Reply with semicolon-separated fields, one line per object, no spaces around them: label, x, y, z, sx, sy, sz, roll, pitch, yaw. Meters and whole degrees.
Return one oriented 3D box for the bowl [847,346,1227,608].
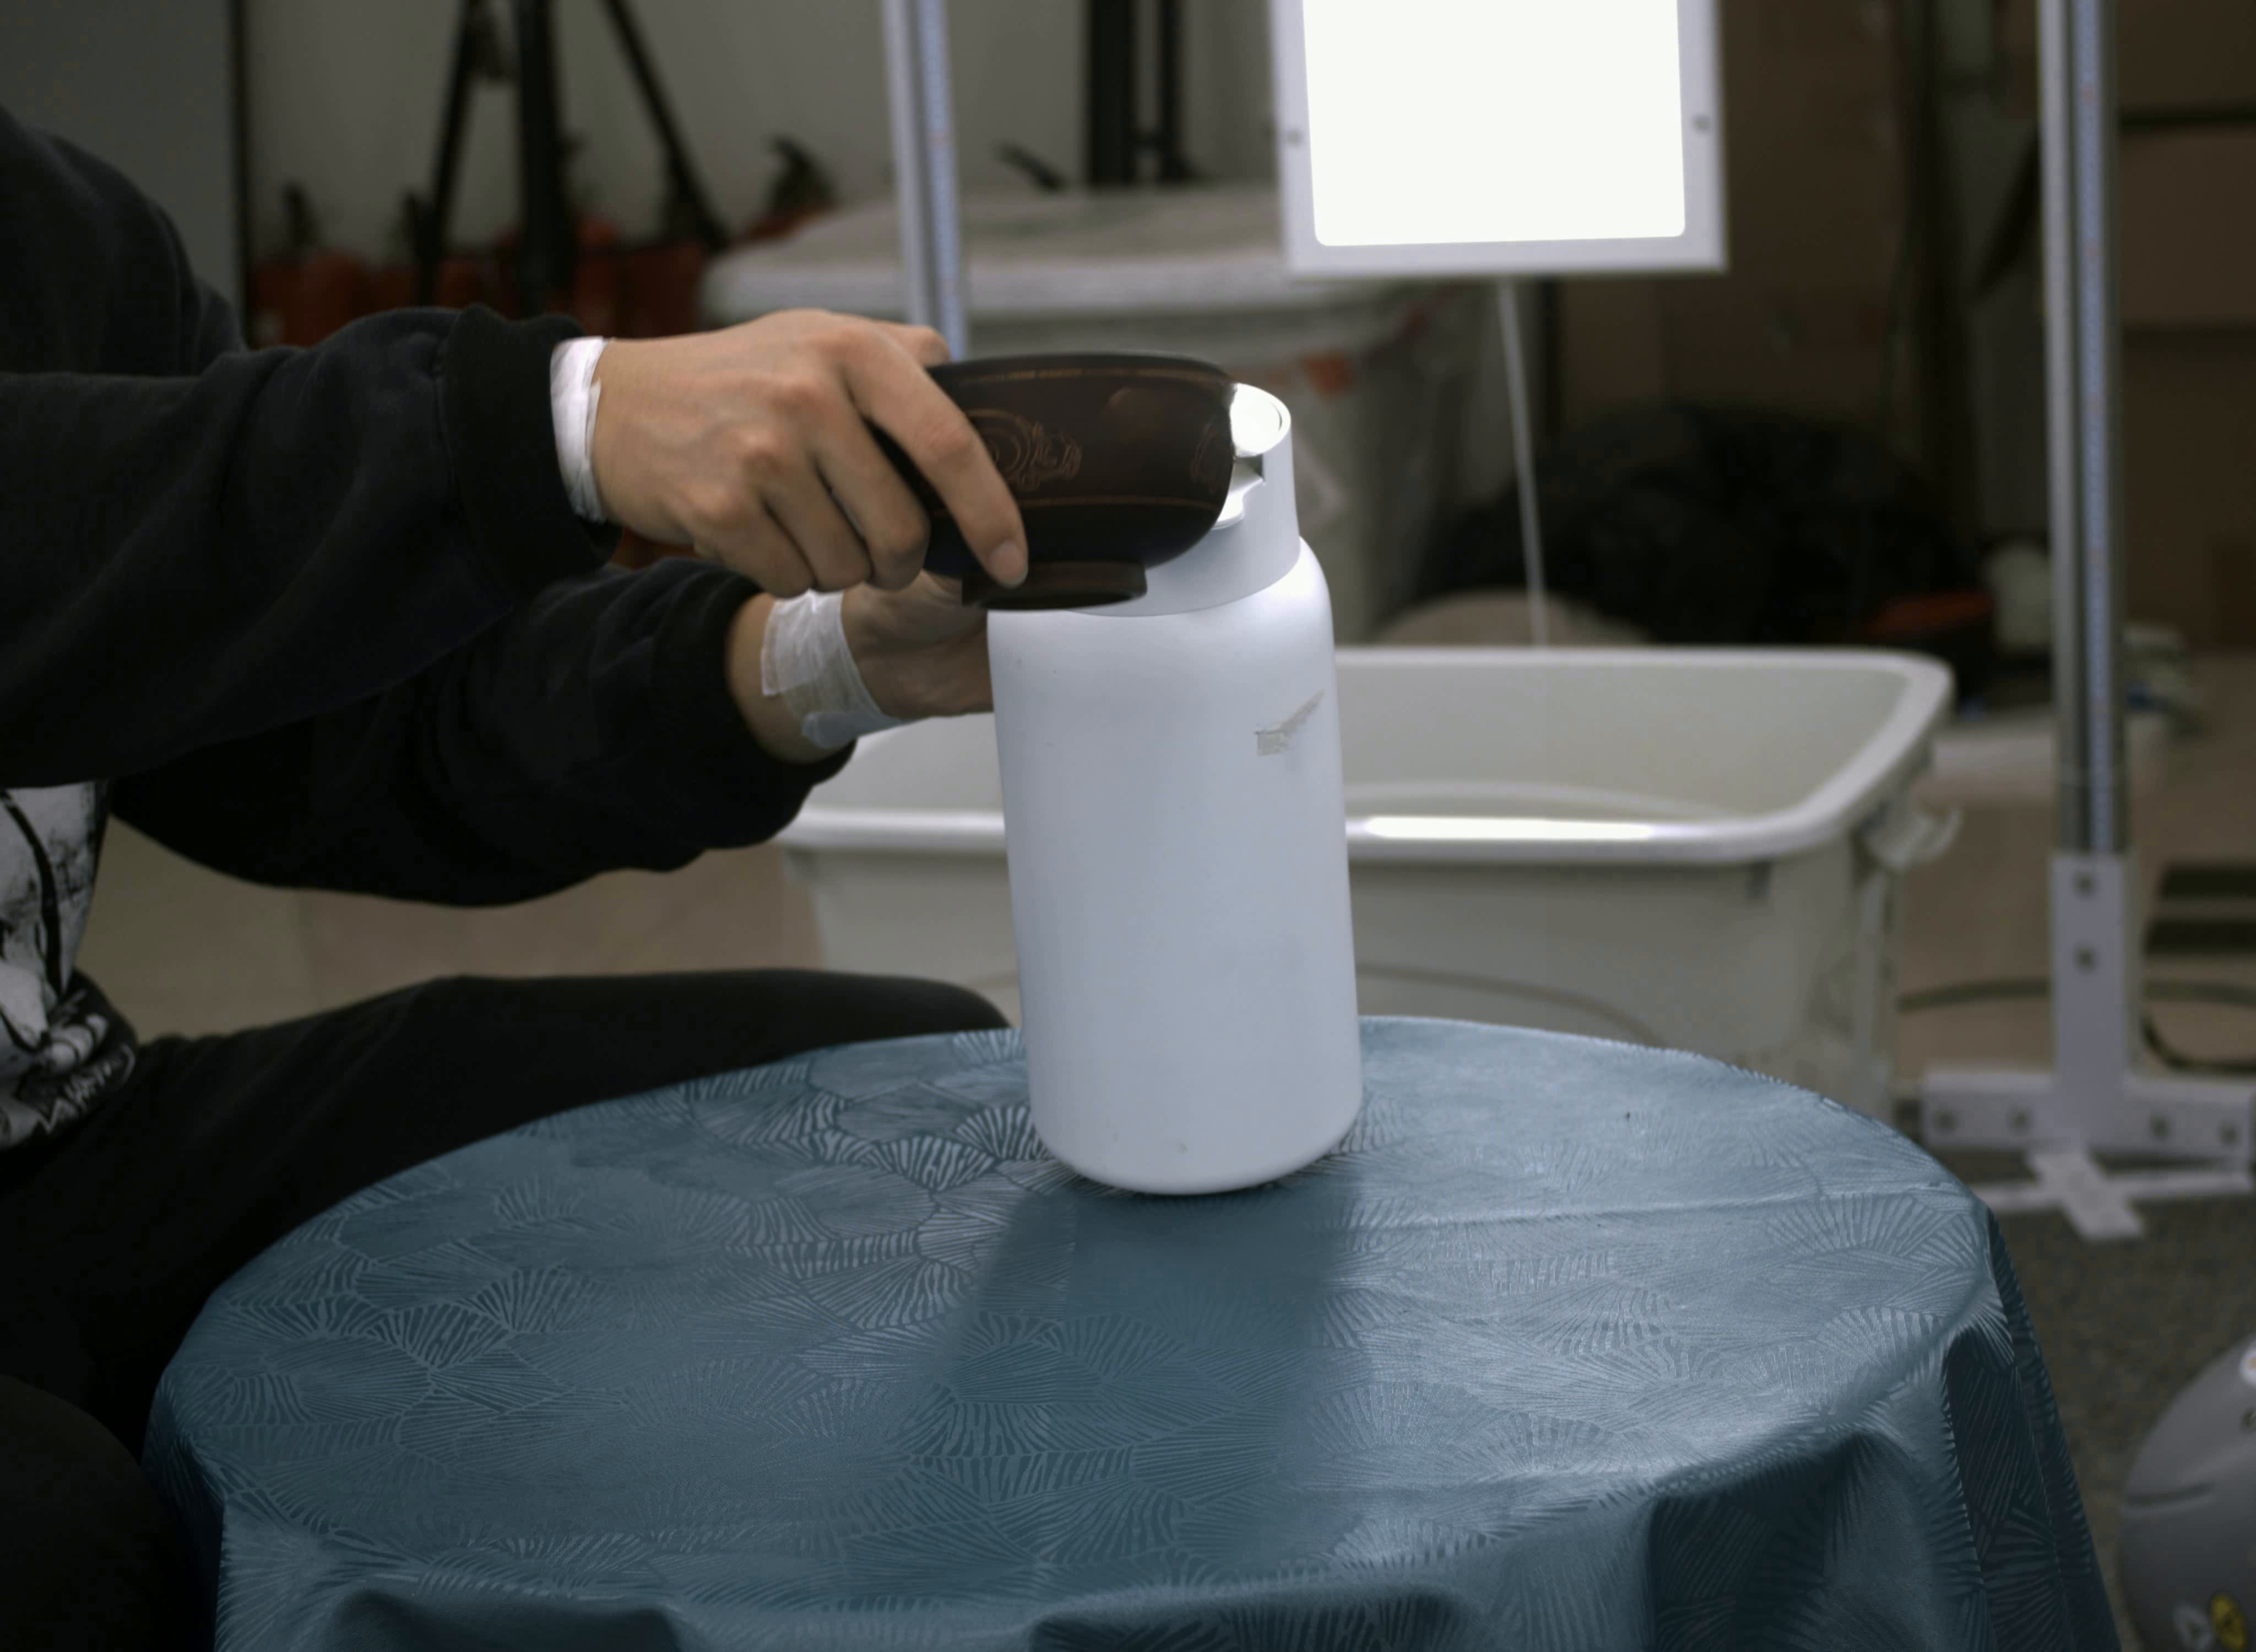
bowl;-0.026;-0.105;1.691;0.117;0.070;0.118;-4;-4;-2

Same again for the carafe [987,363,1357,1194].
carafe;0.007;-0.021;1.893;0.122;0.270;0.175;-15;28;-17
